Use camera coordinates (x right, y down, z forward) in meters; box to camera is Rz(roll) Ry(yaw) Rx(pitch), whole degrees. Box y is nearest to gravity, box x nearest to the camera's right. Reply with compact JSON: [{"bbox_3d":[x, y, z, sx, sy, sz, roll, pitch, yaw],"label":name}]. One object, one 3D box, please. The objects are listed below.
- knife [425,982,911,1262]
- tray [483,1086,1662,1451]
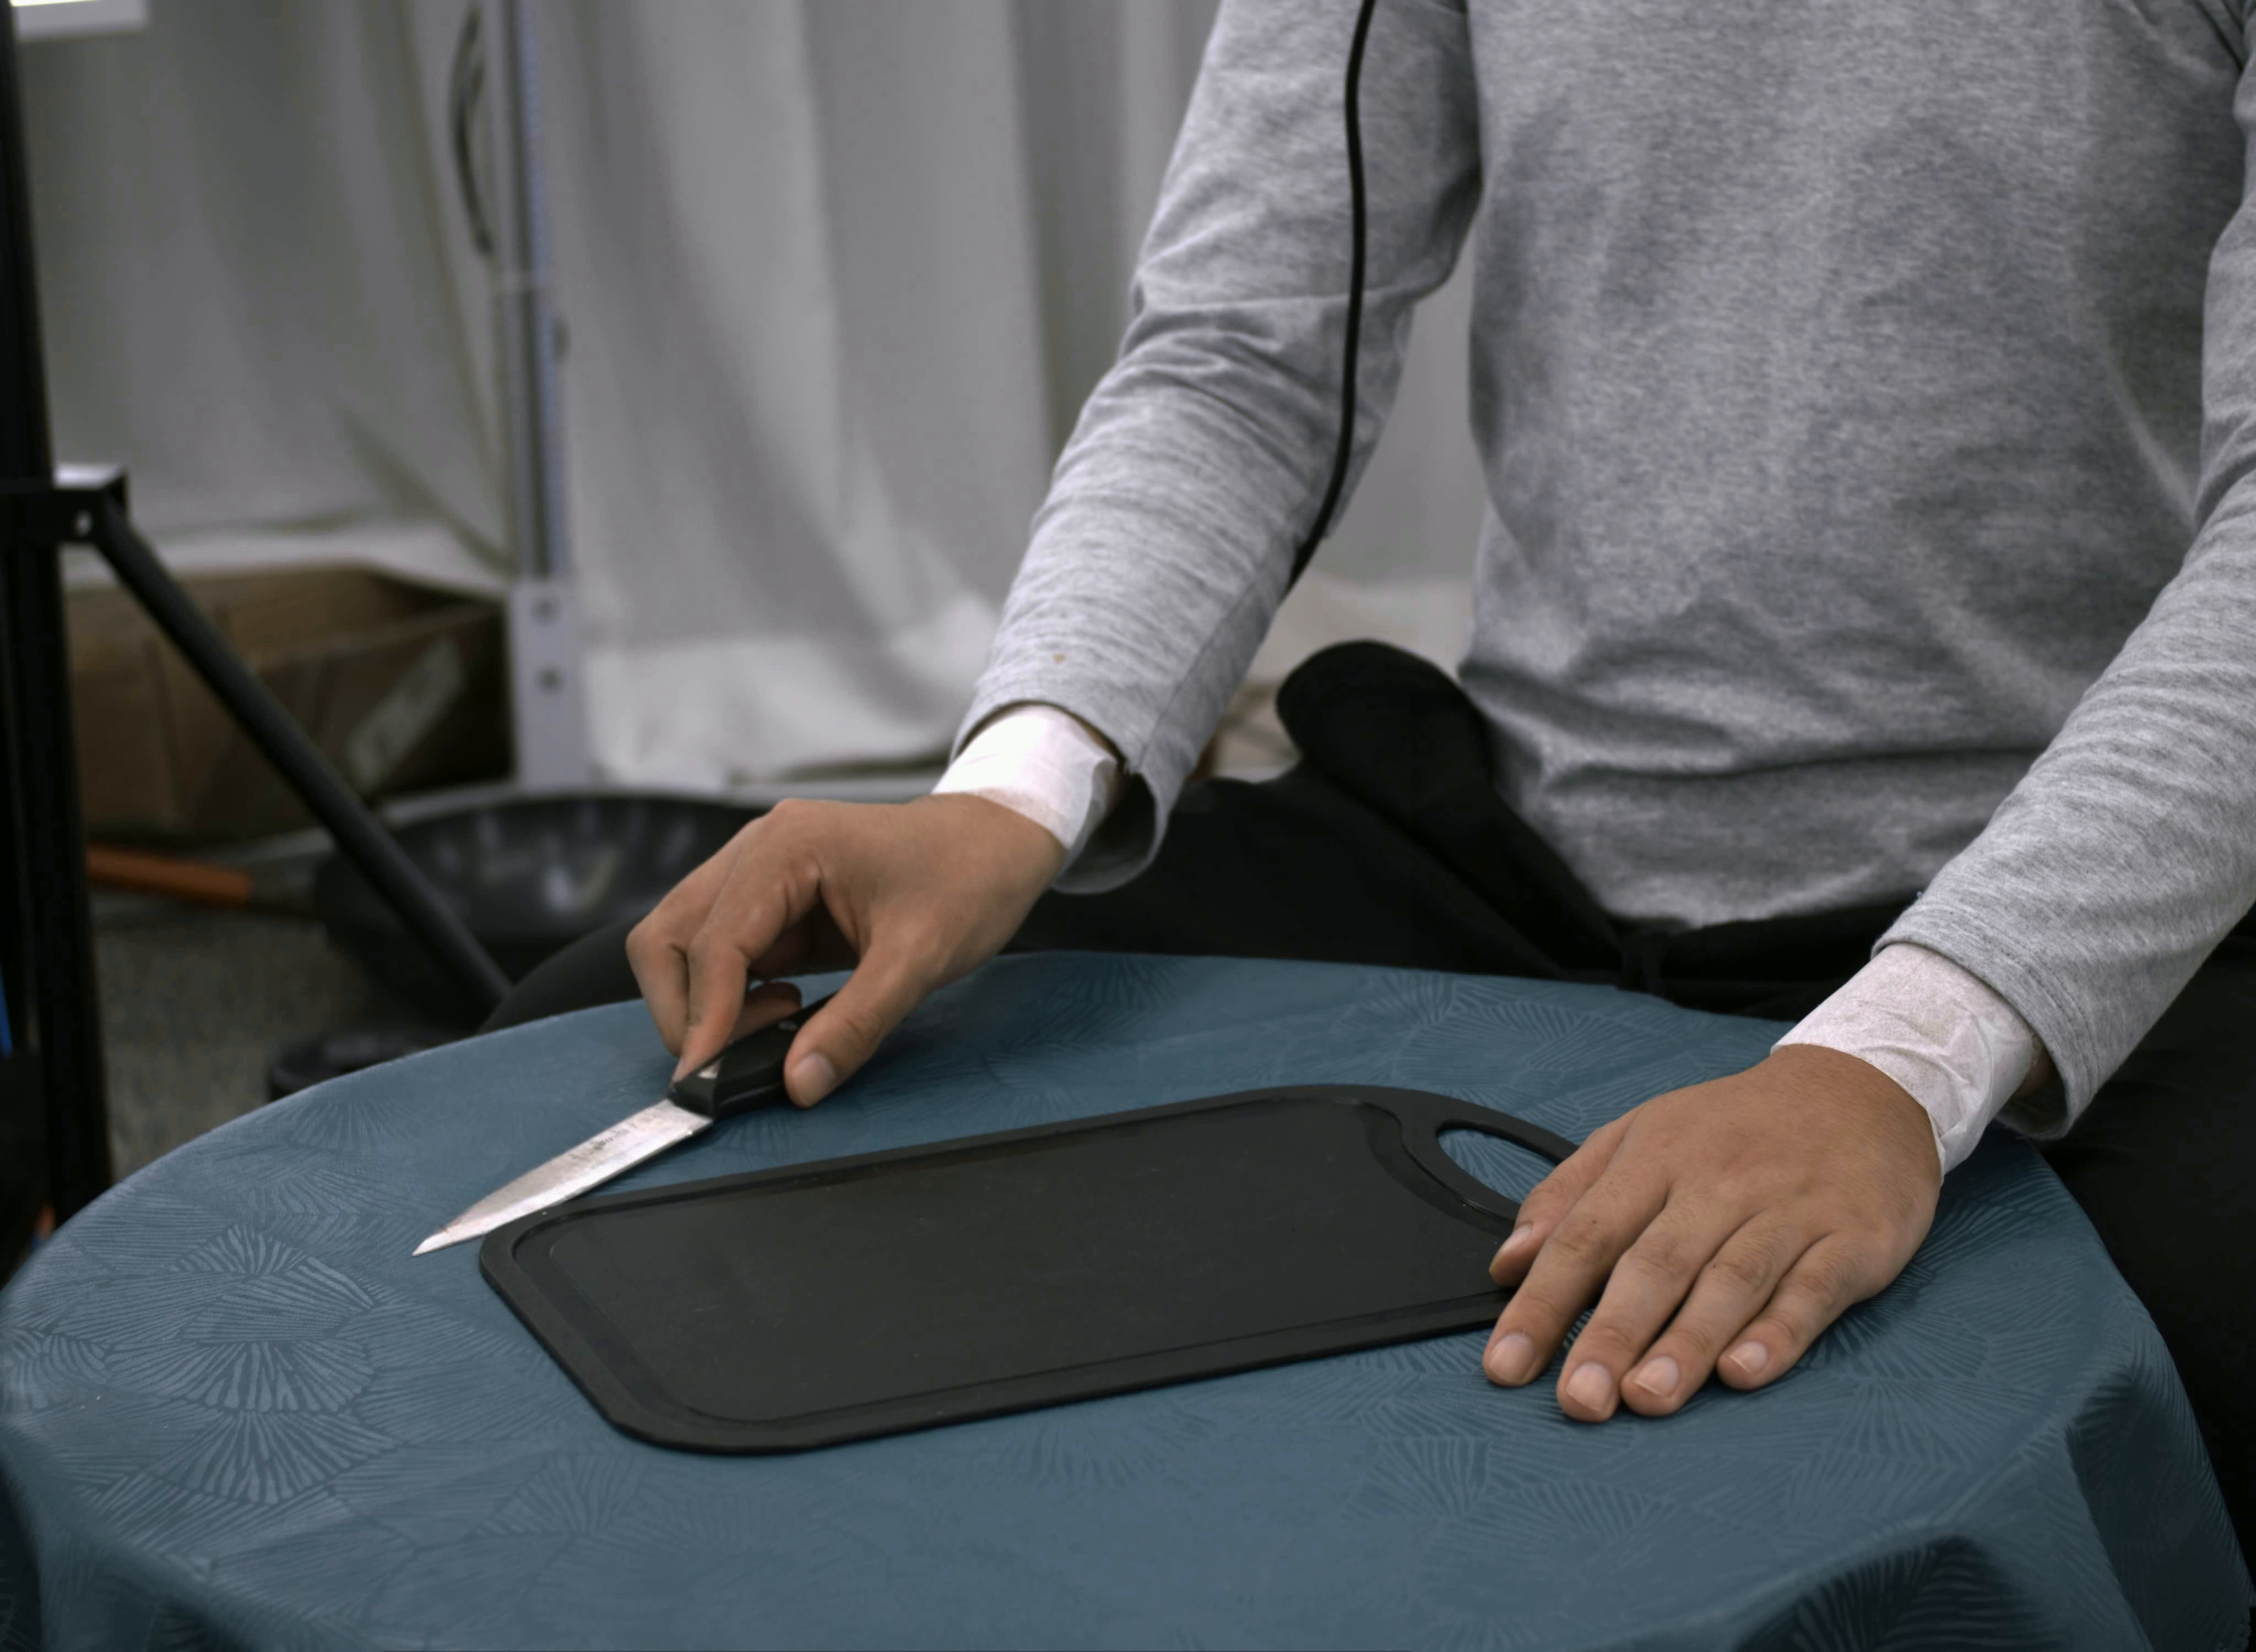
[{"bbox_3d":[-0.140,0.090,1.627,0.025,0.016,0.234,13,24,30],"label":"knife"},{"bbox_3d":[-0.011,0.119,1.513,0.319,0.010,0.215,-8,17,-19],"label":"tray"}]
